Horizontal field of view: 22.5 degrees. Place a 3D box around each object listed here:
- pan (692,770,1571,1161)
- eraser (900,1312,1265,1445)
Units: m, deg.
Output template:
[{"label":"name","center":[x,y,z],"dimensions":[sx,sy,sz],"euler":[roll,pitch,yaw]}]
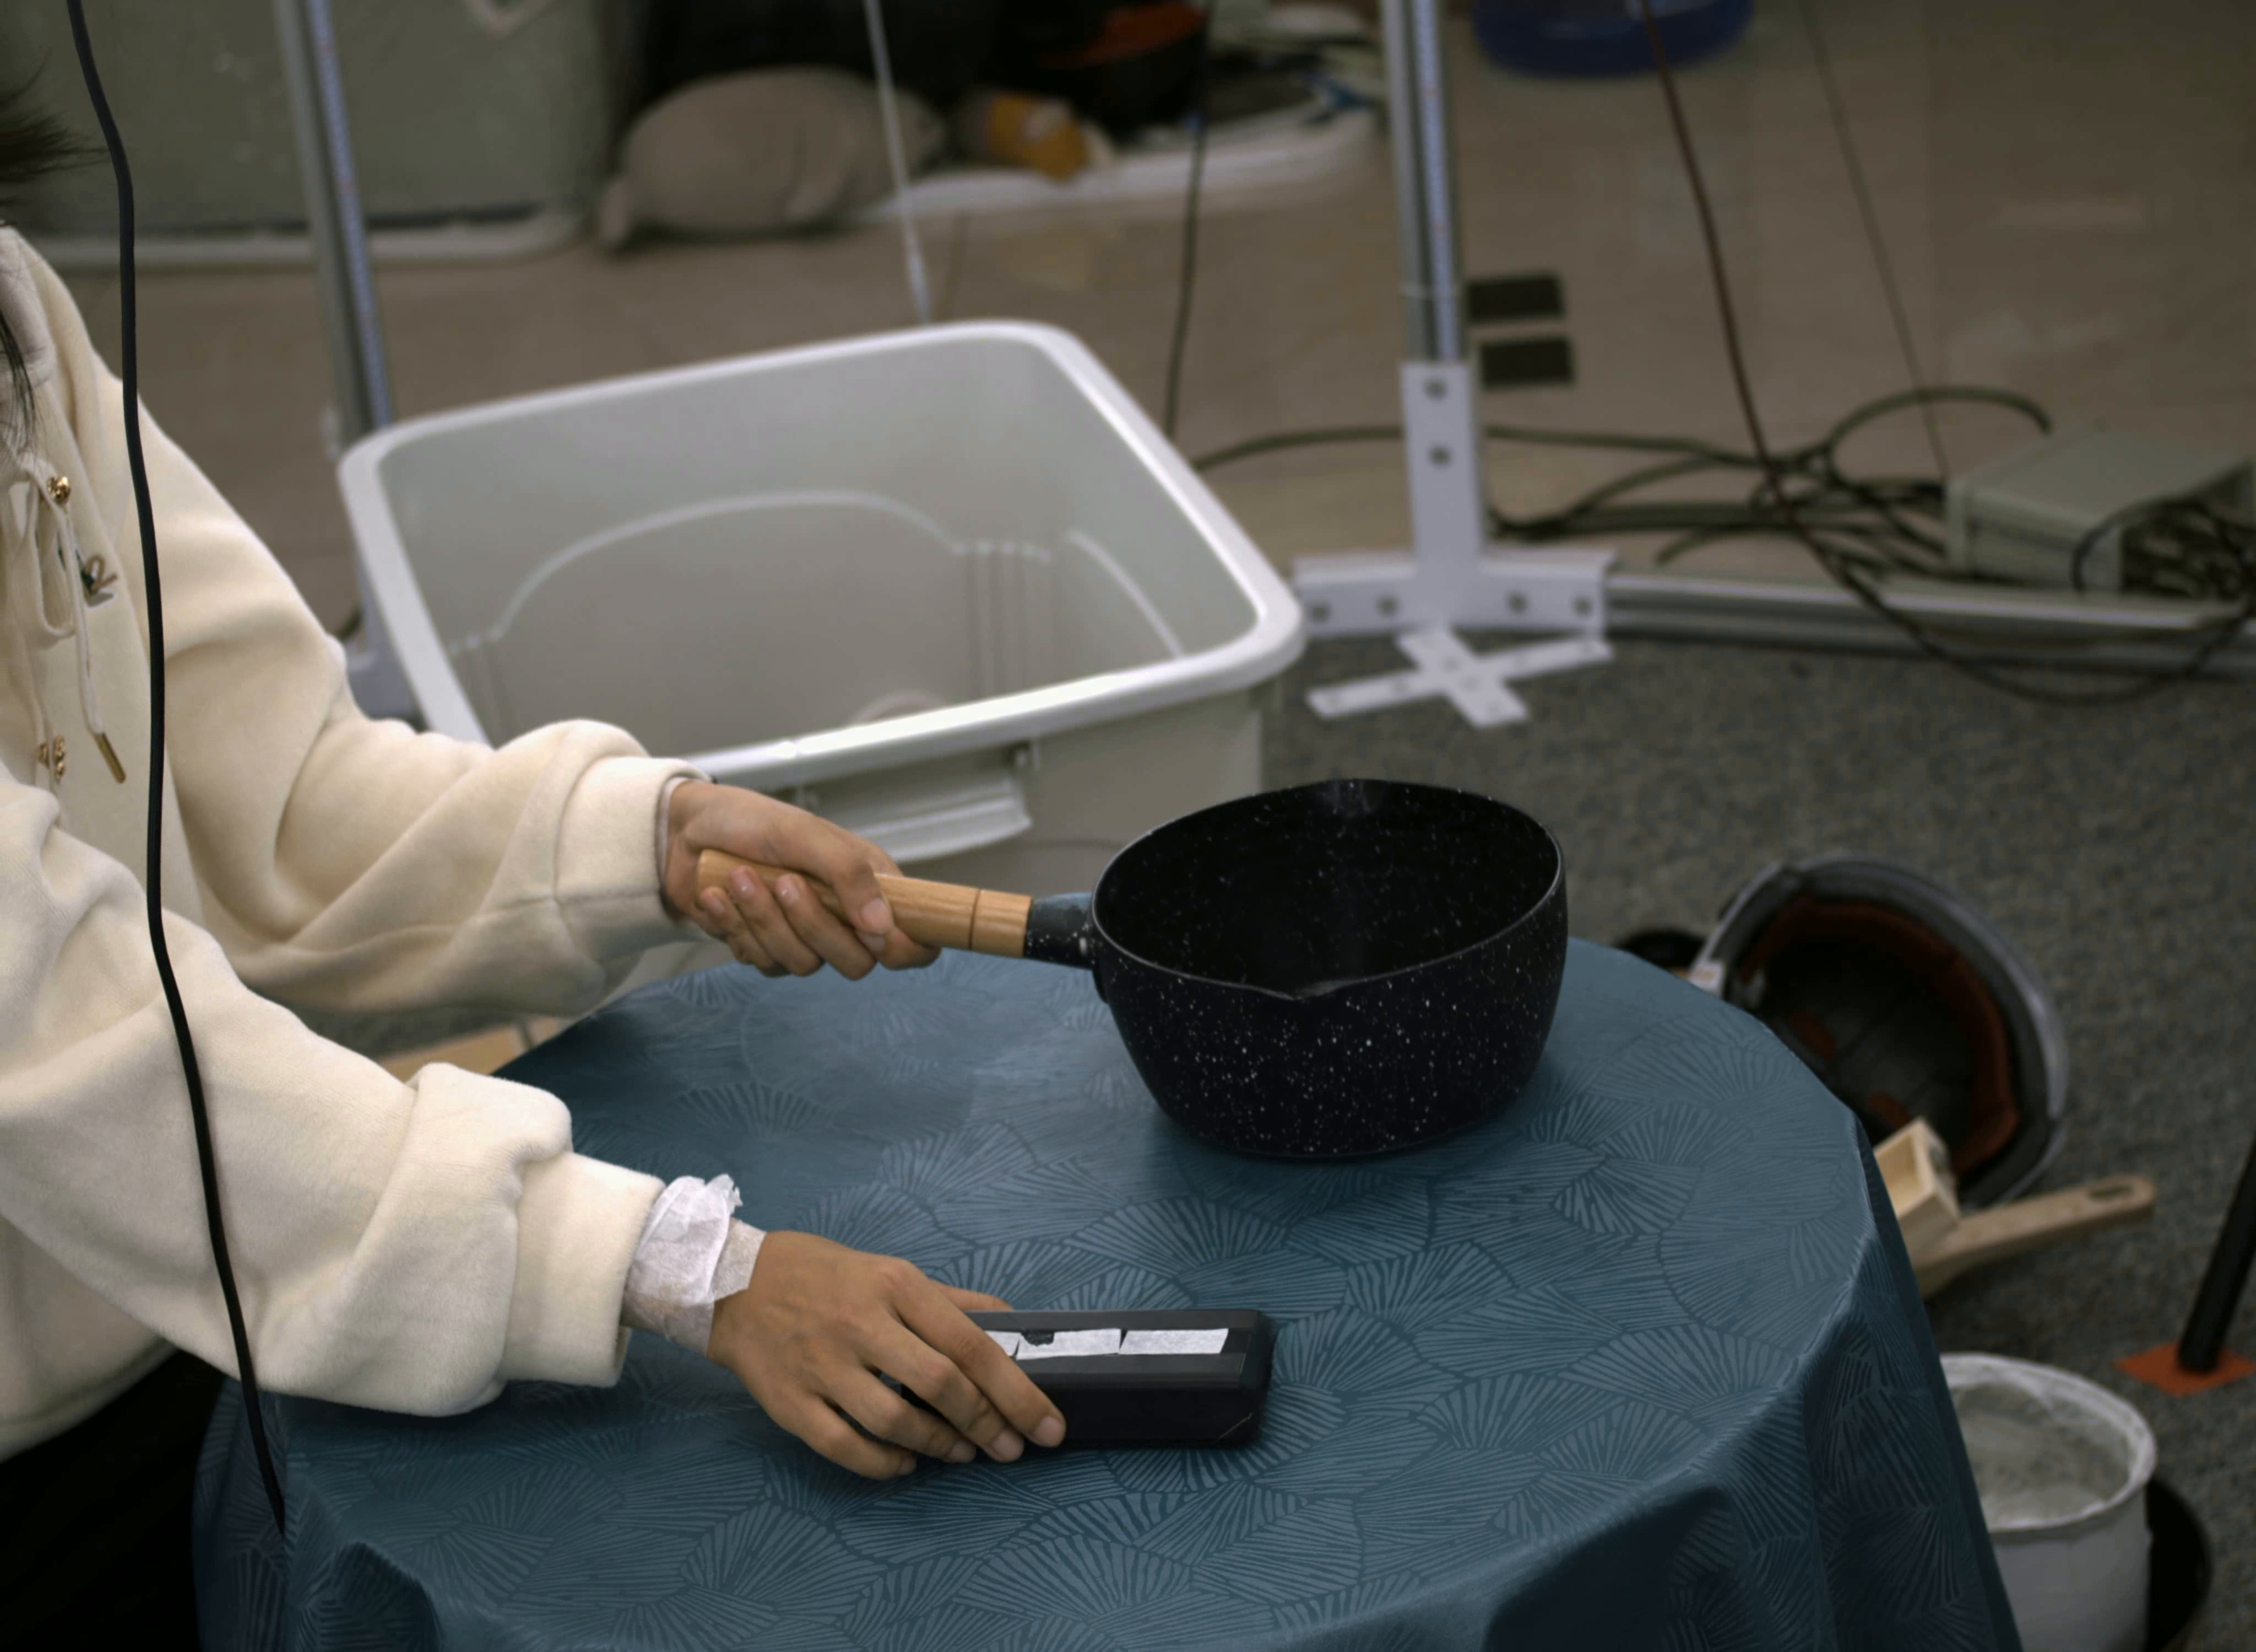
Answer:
[{"label":"pan","center":[0.001,0.051,2.200],"dimensions":[0.342,0.110,0.204],"euler":[-2,25,8]},{"label":"eraser","center":[-0.014,0.194,1.998],"dimensions":[0.125,0.031,0.053],"euler":[-1,26,11]}]
